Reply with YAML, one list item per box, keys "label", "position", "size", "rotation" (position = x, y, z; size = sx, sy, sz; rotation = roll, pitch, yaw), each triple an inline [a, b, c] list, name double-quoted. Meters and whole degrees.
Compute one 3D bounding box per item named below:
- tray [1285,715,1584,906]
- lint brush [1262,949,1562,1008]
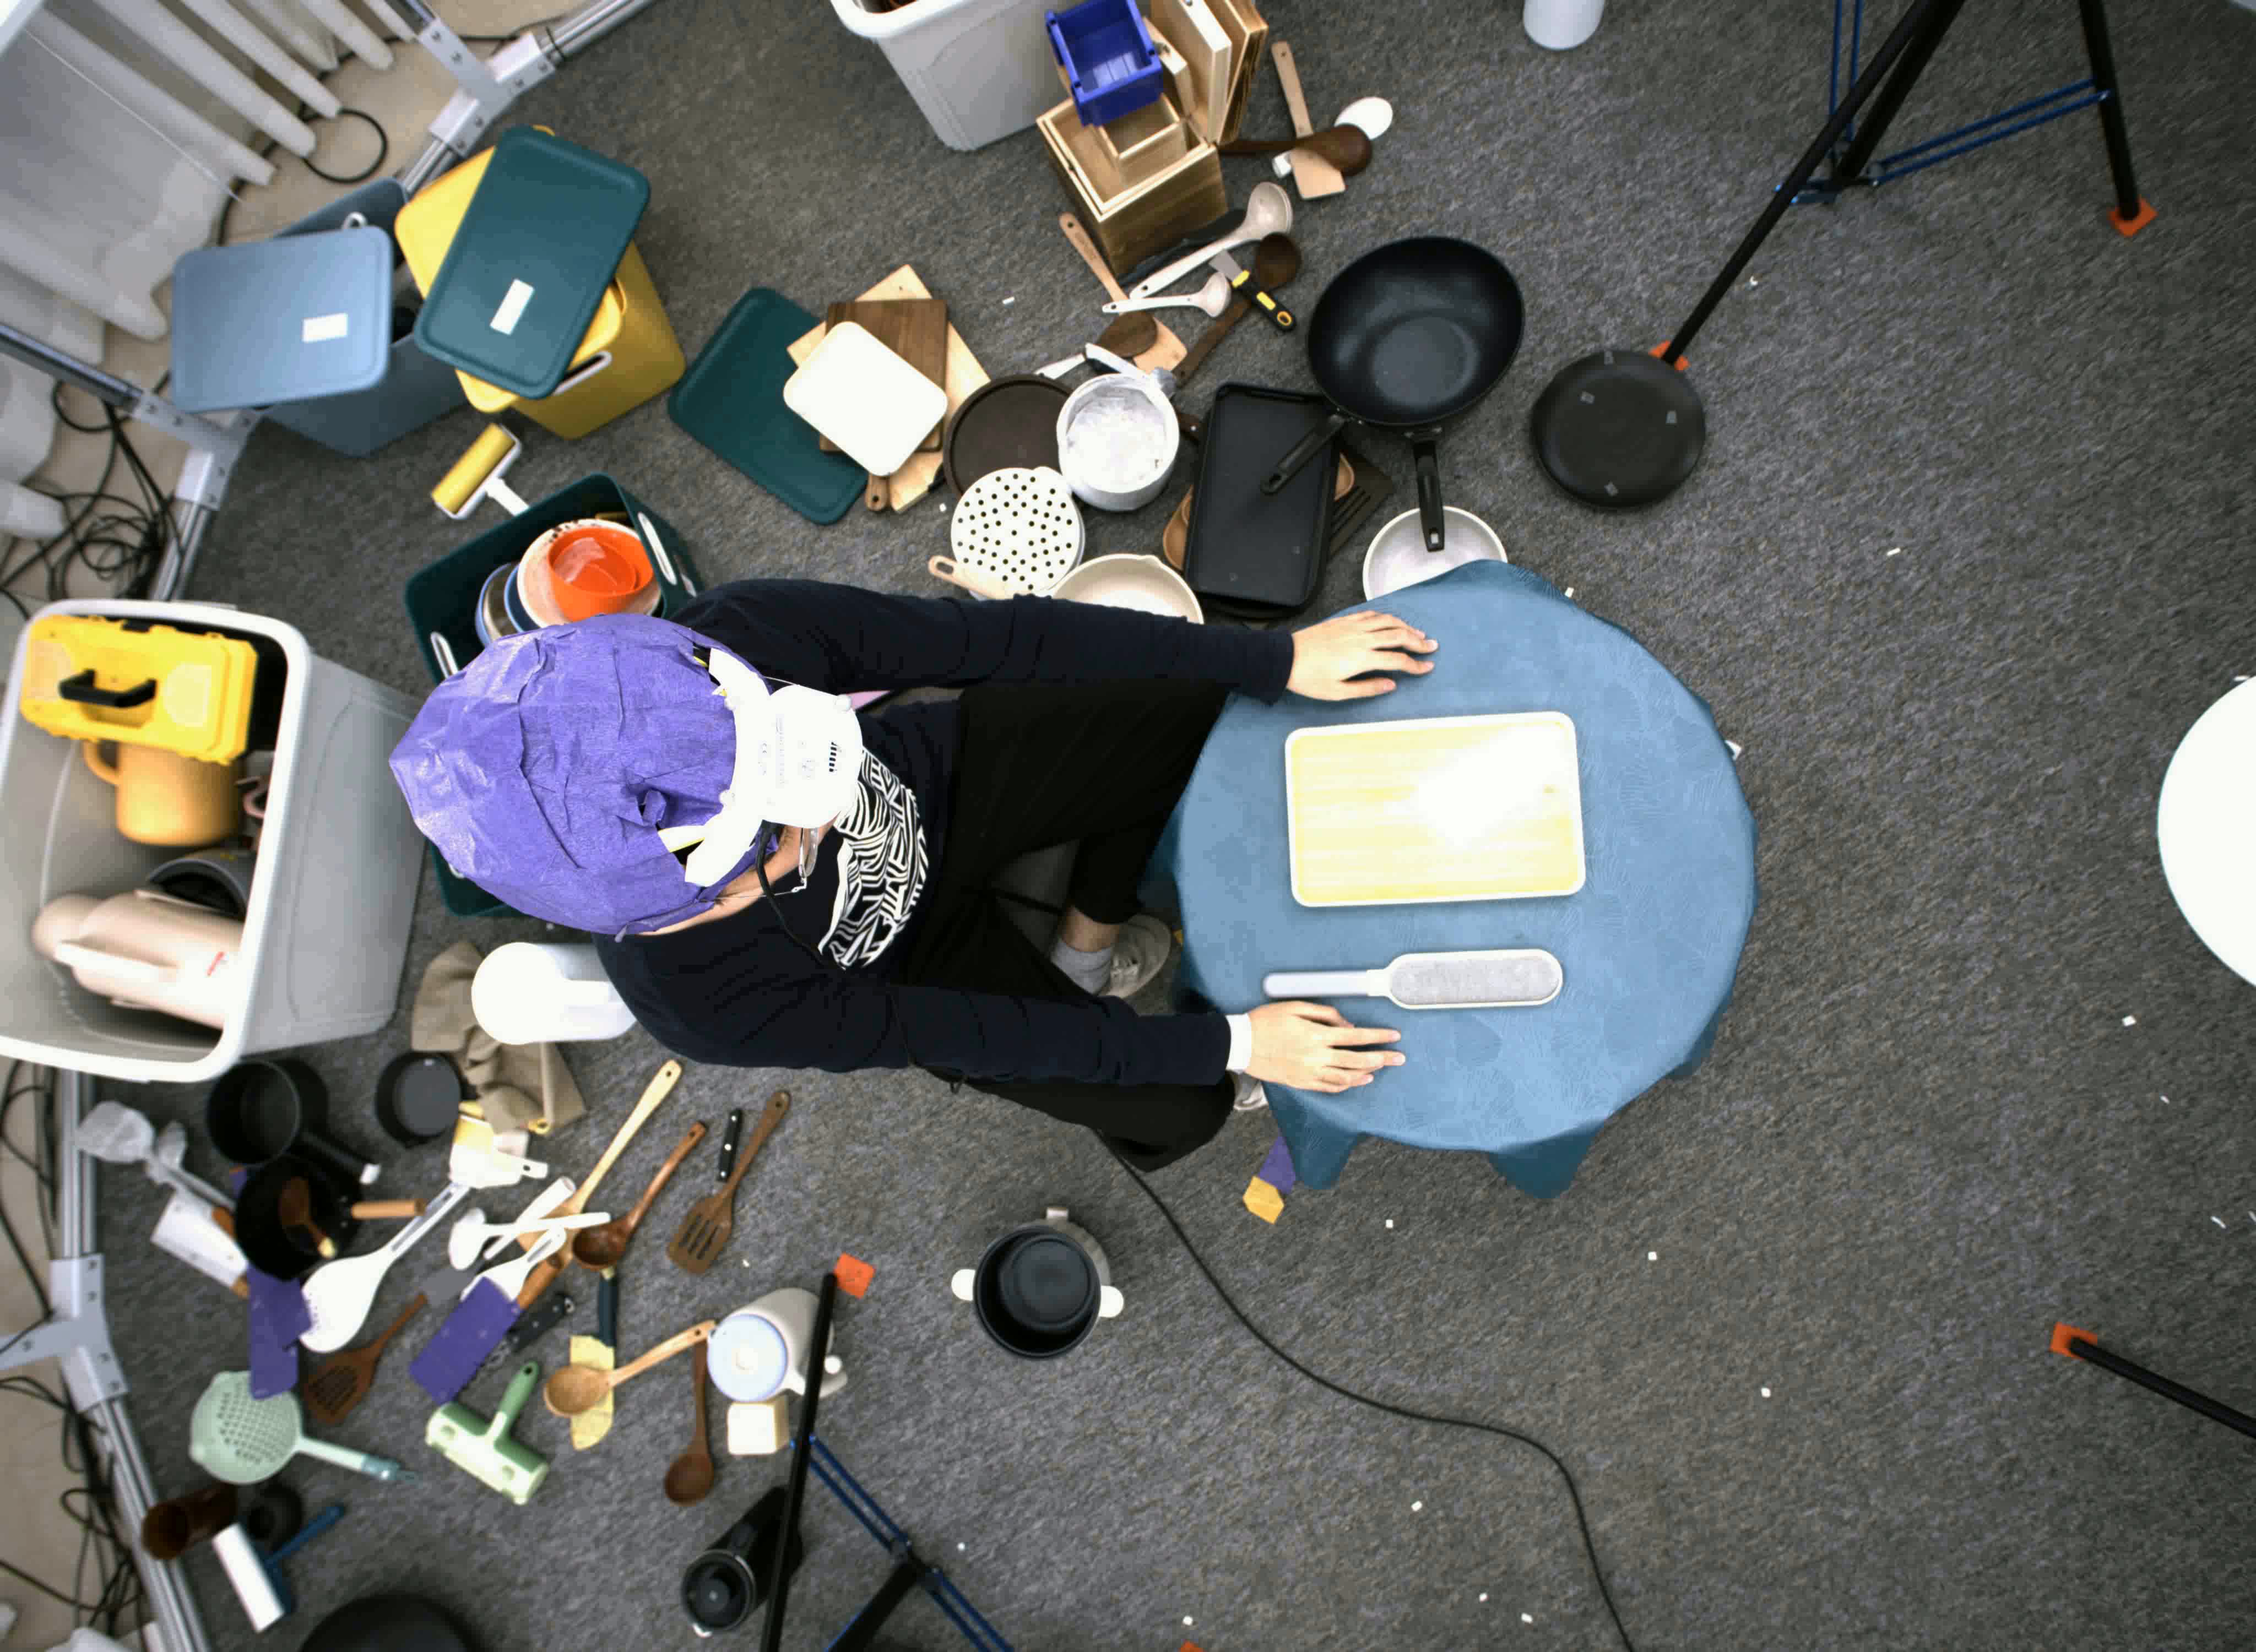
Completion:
- label: "tray"
  position: [0.318, -0.016, 1.443]
  size: [0.301, 0.027, 0.191]
  rotation: [-2, 87, 11]
- label: "lint brush"
  position: [0.294, 0.158, 1.437]
  size: [0.310, 0.021, 0.060]
  rotation: [-3, 92, 11]
